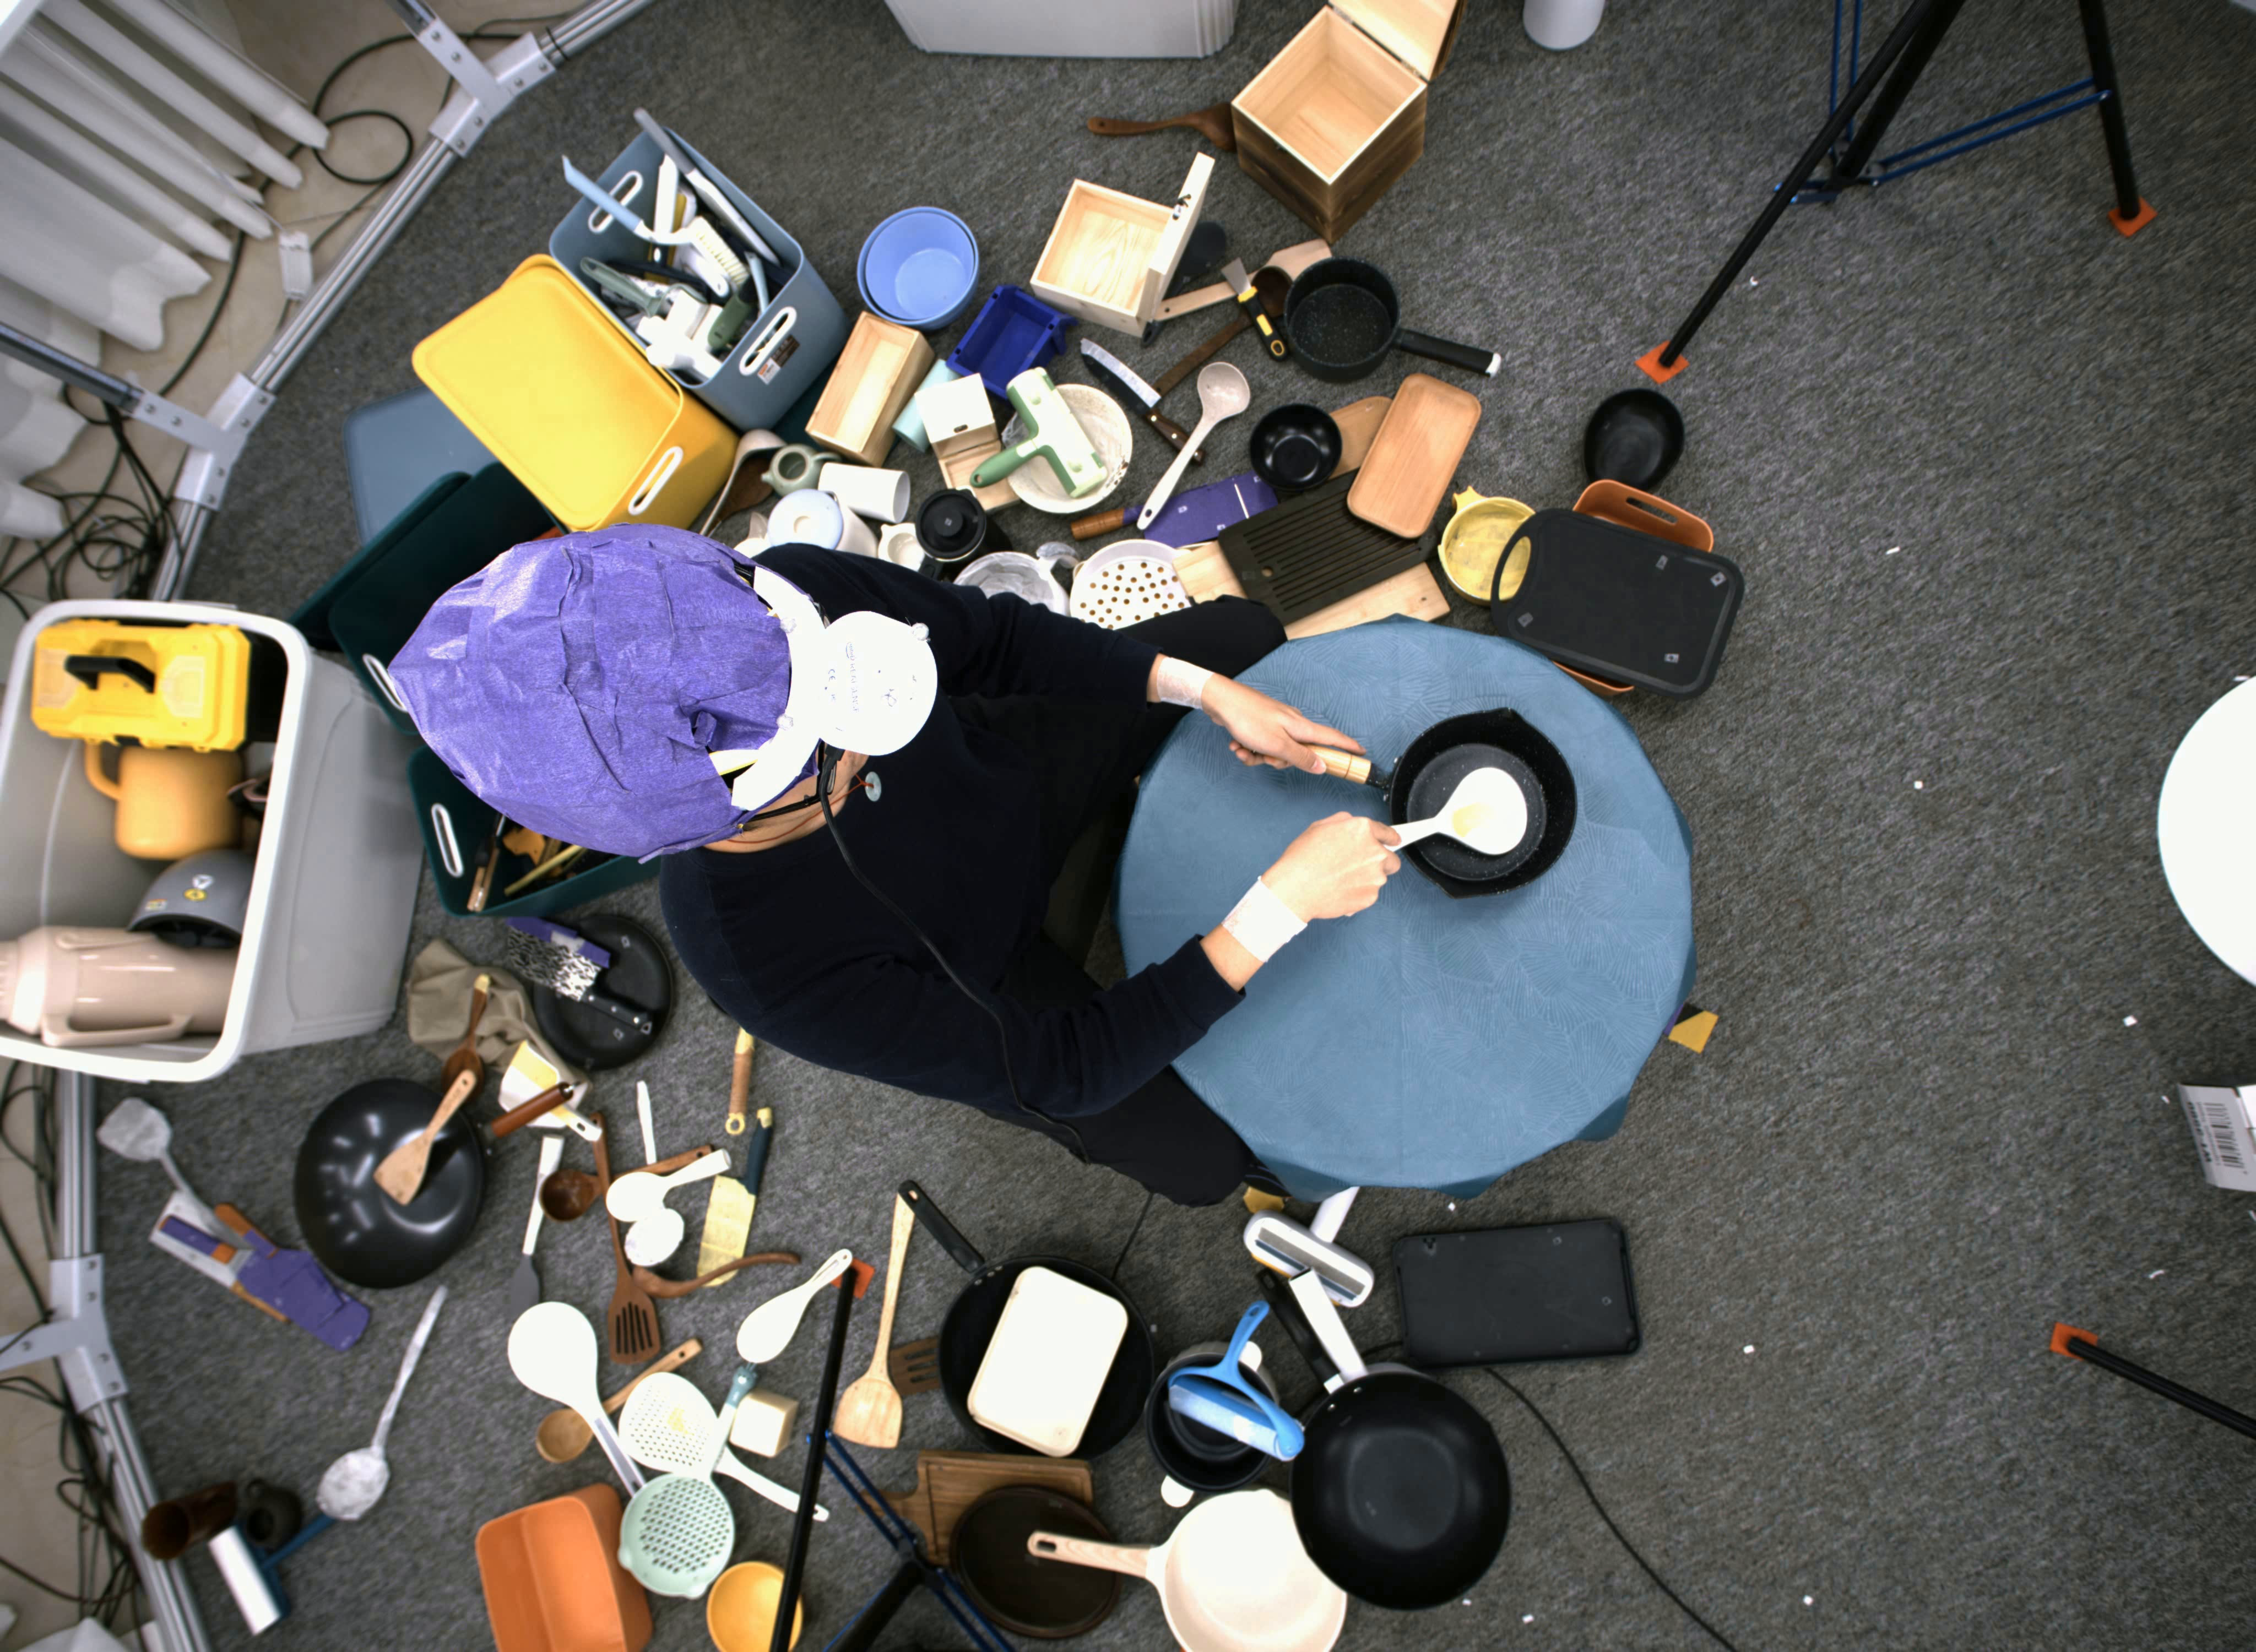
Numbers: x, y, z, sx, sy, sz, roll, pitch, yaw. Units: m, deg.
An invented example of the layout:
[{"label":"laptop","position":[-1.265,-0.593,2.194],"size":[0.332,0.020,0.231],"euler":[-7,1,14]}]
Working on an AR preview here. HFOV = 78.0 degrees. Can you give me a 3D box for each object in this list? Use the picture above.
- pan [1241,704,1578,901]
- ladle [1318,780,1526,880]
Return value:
[{"label":"pan","position":[0.282,-0.042,1.409],"size":[0.343,0.108,0.207],"euler":[15,90,10]},{"label":"ladle","position":[0.292,0.011,1.334],"size":[0.070,0.289,0.090],"euler":[-3,96,42]}]
